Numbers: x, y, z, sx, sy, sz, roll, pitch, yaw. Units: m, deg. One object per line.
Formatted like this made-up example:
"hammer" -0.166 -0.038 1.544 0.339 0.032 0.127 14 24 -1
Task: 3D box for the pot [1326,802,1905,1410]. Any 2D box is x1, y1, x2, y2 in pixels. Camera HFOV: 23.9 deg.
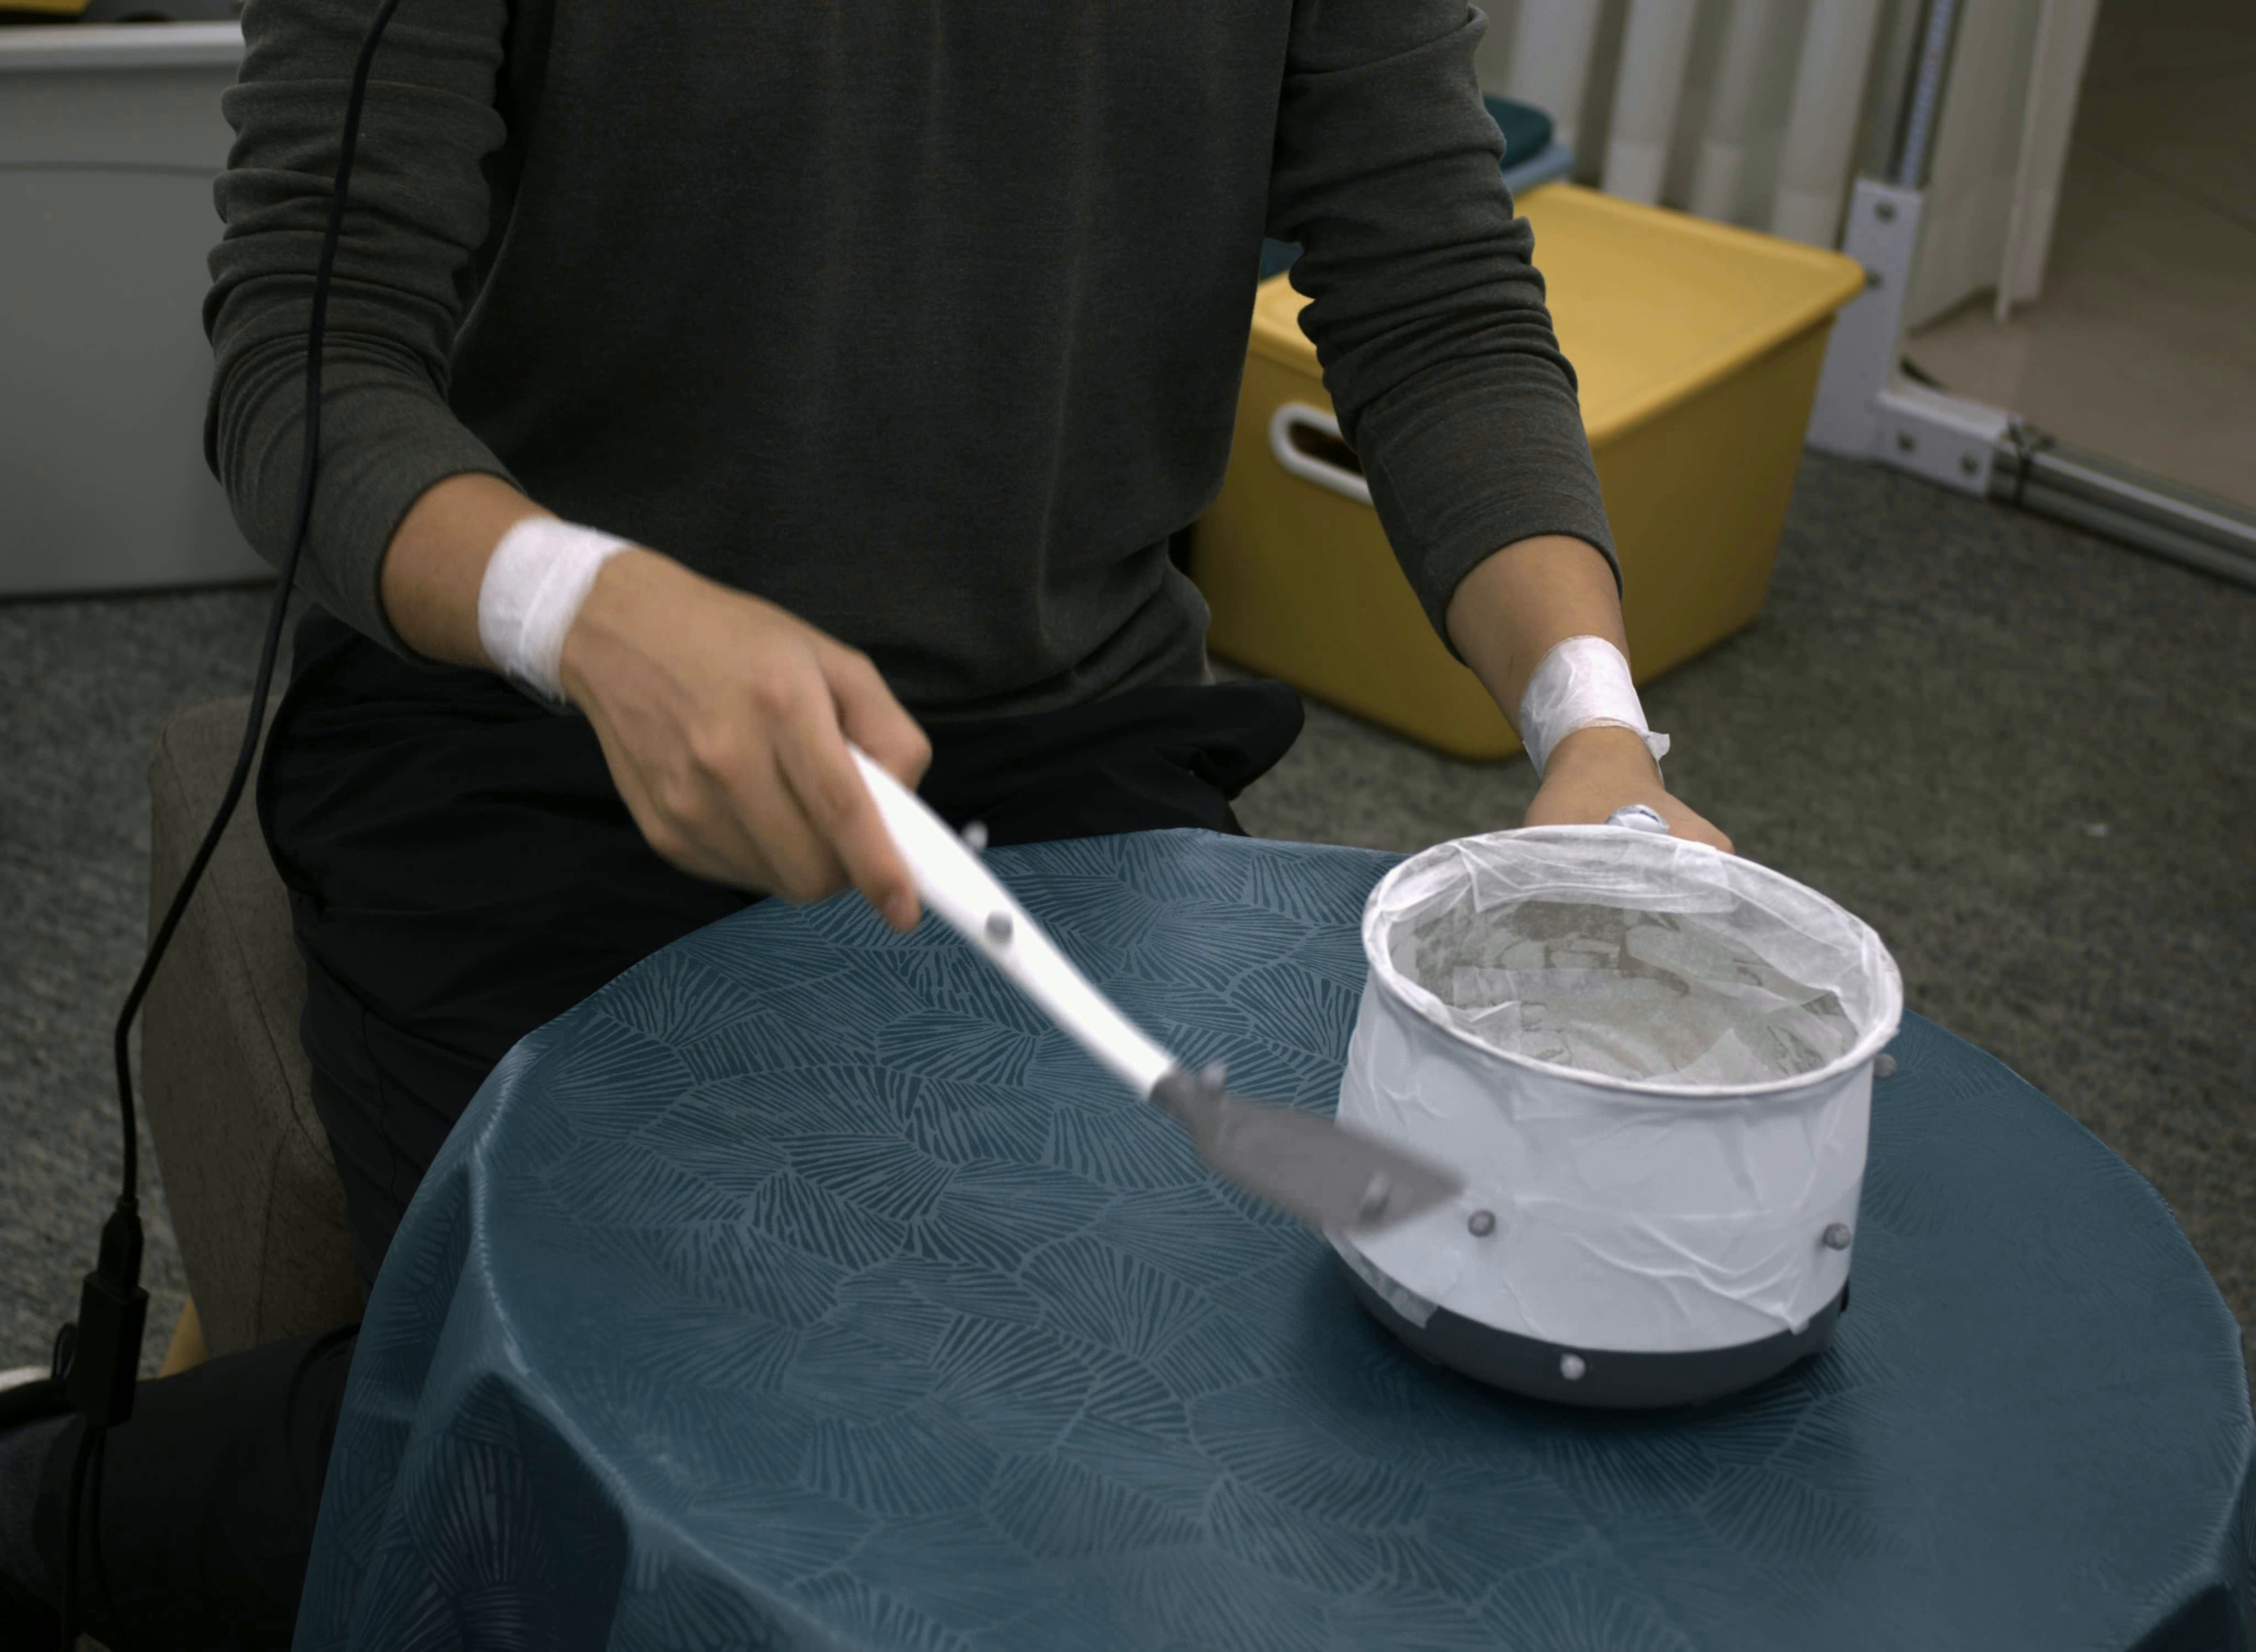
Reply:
"pot" 0.158 0.084 1.767 0.178 0.136 0.235 8 27 2

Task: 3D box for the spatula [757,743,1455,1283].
"spatula" -0.014 0.059 1.628 0.058 0.032 0.290 -16 42 -40
